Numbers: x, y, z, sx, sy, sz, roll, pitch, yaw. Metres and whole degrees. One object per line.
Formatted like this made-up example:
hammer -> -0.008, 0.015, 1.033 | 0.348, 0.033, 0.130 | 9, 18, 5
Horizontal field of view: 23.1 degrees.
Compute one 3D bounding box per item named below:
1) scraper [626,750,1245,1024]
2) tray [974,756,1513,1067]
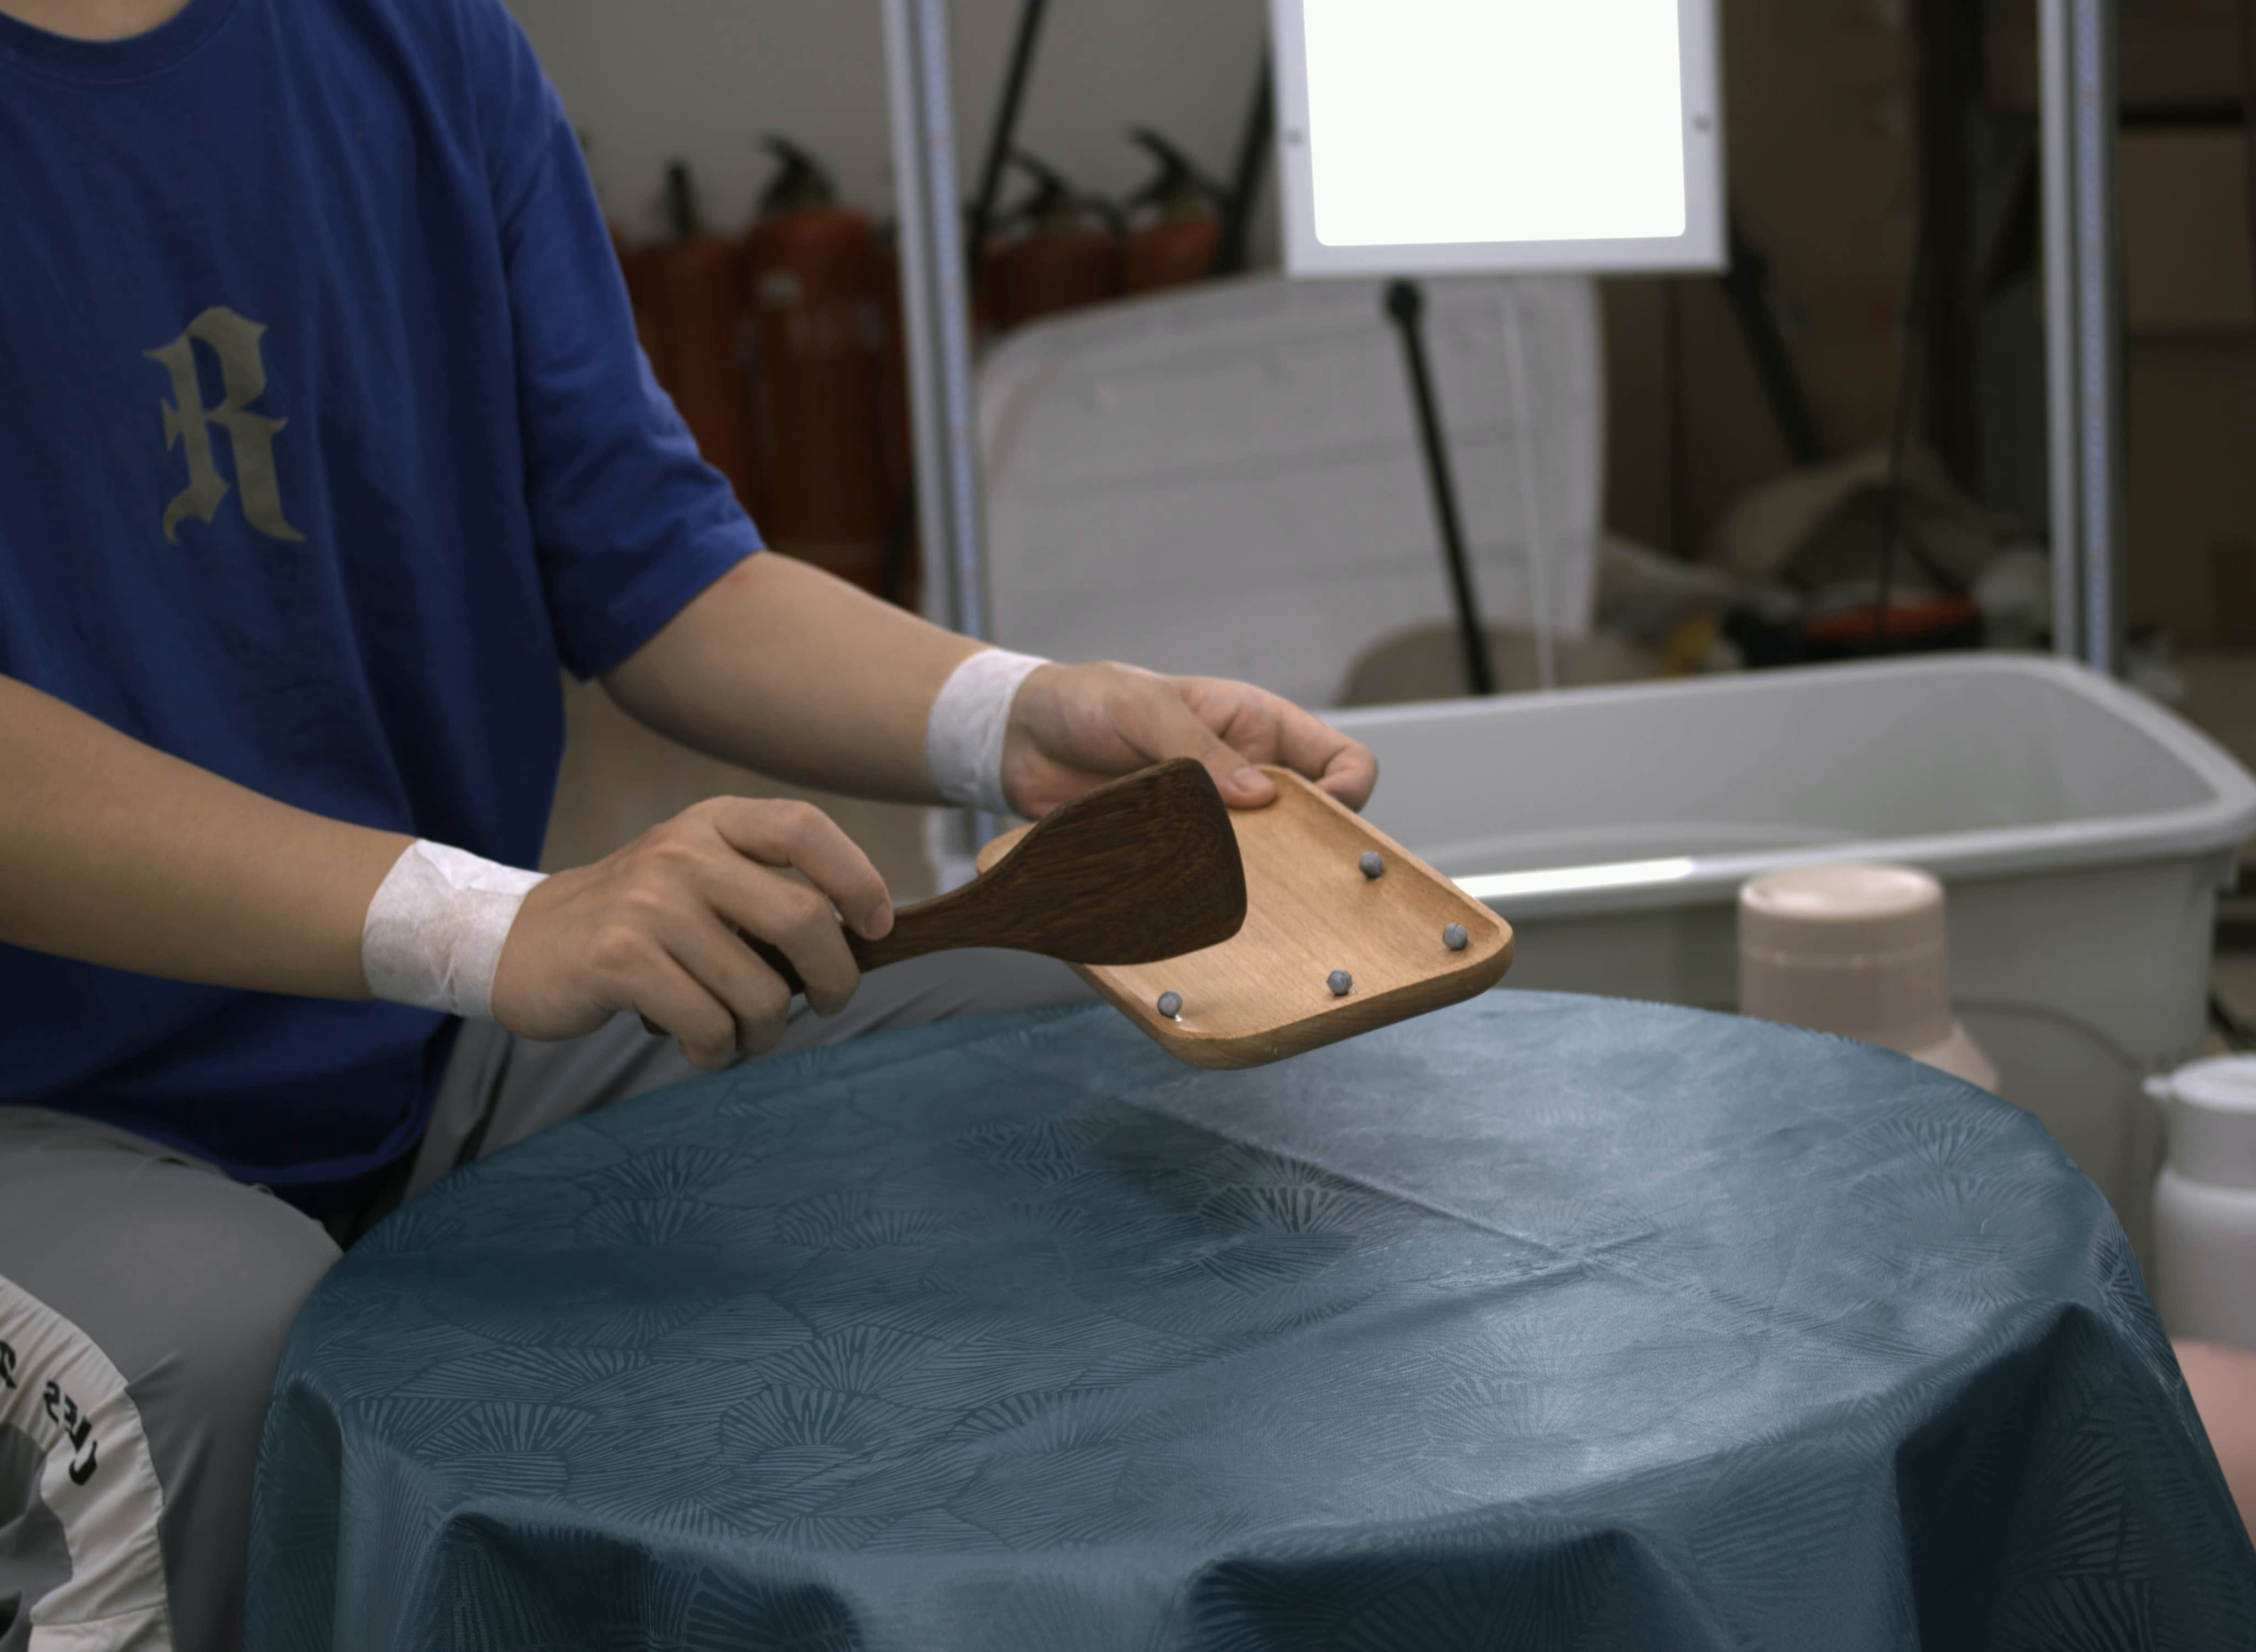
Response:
scraper -> -0.066, 0.031, 1.845 | 0.212, 0.076, 0.011 | -15, 31, 7
tray -> 0.037, 0.027, 1.917 | 0.129, 0.023, 0.253 | -15, 19, -14
